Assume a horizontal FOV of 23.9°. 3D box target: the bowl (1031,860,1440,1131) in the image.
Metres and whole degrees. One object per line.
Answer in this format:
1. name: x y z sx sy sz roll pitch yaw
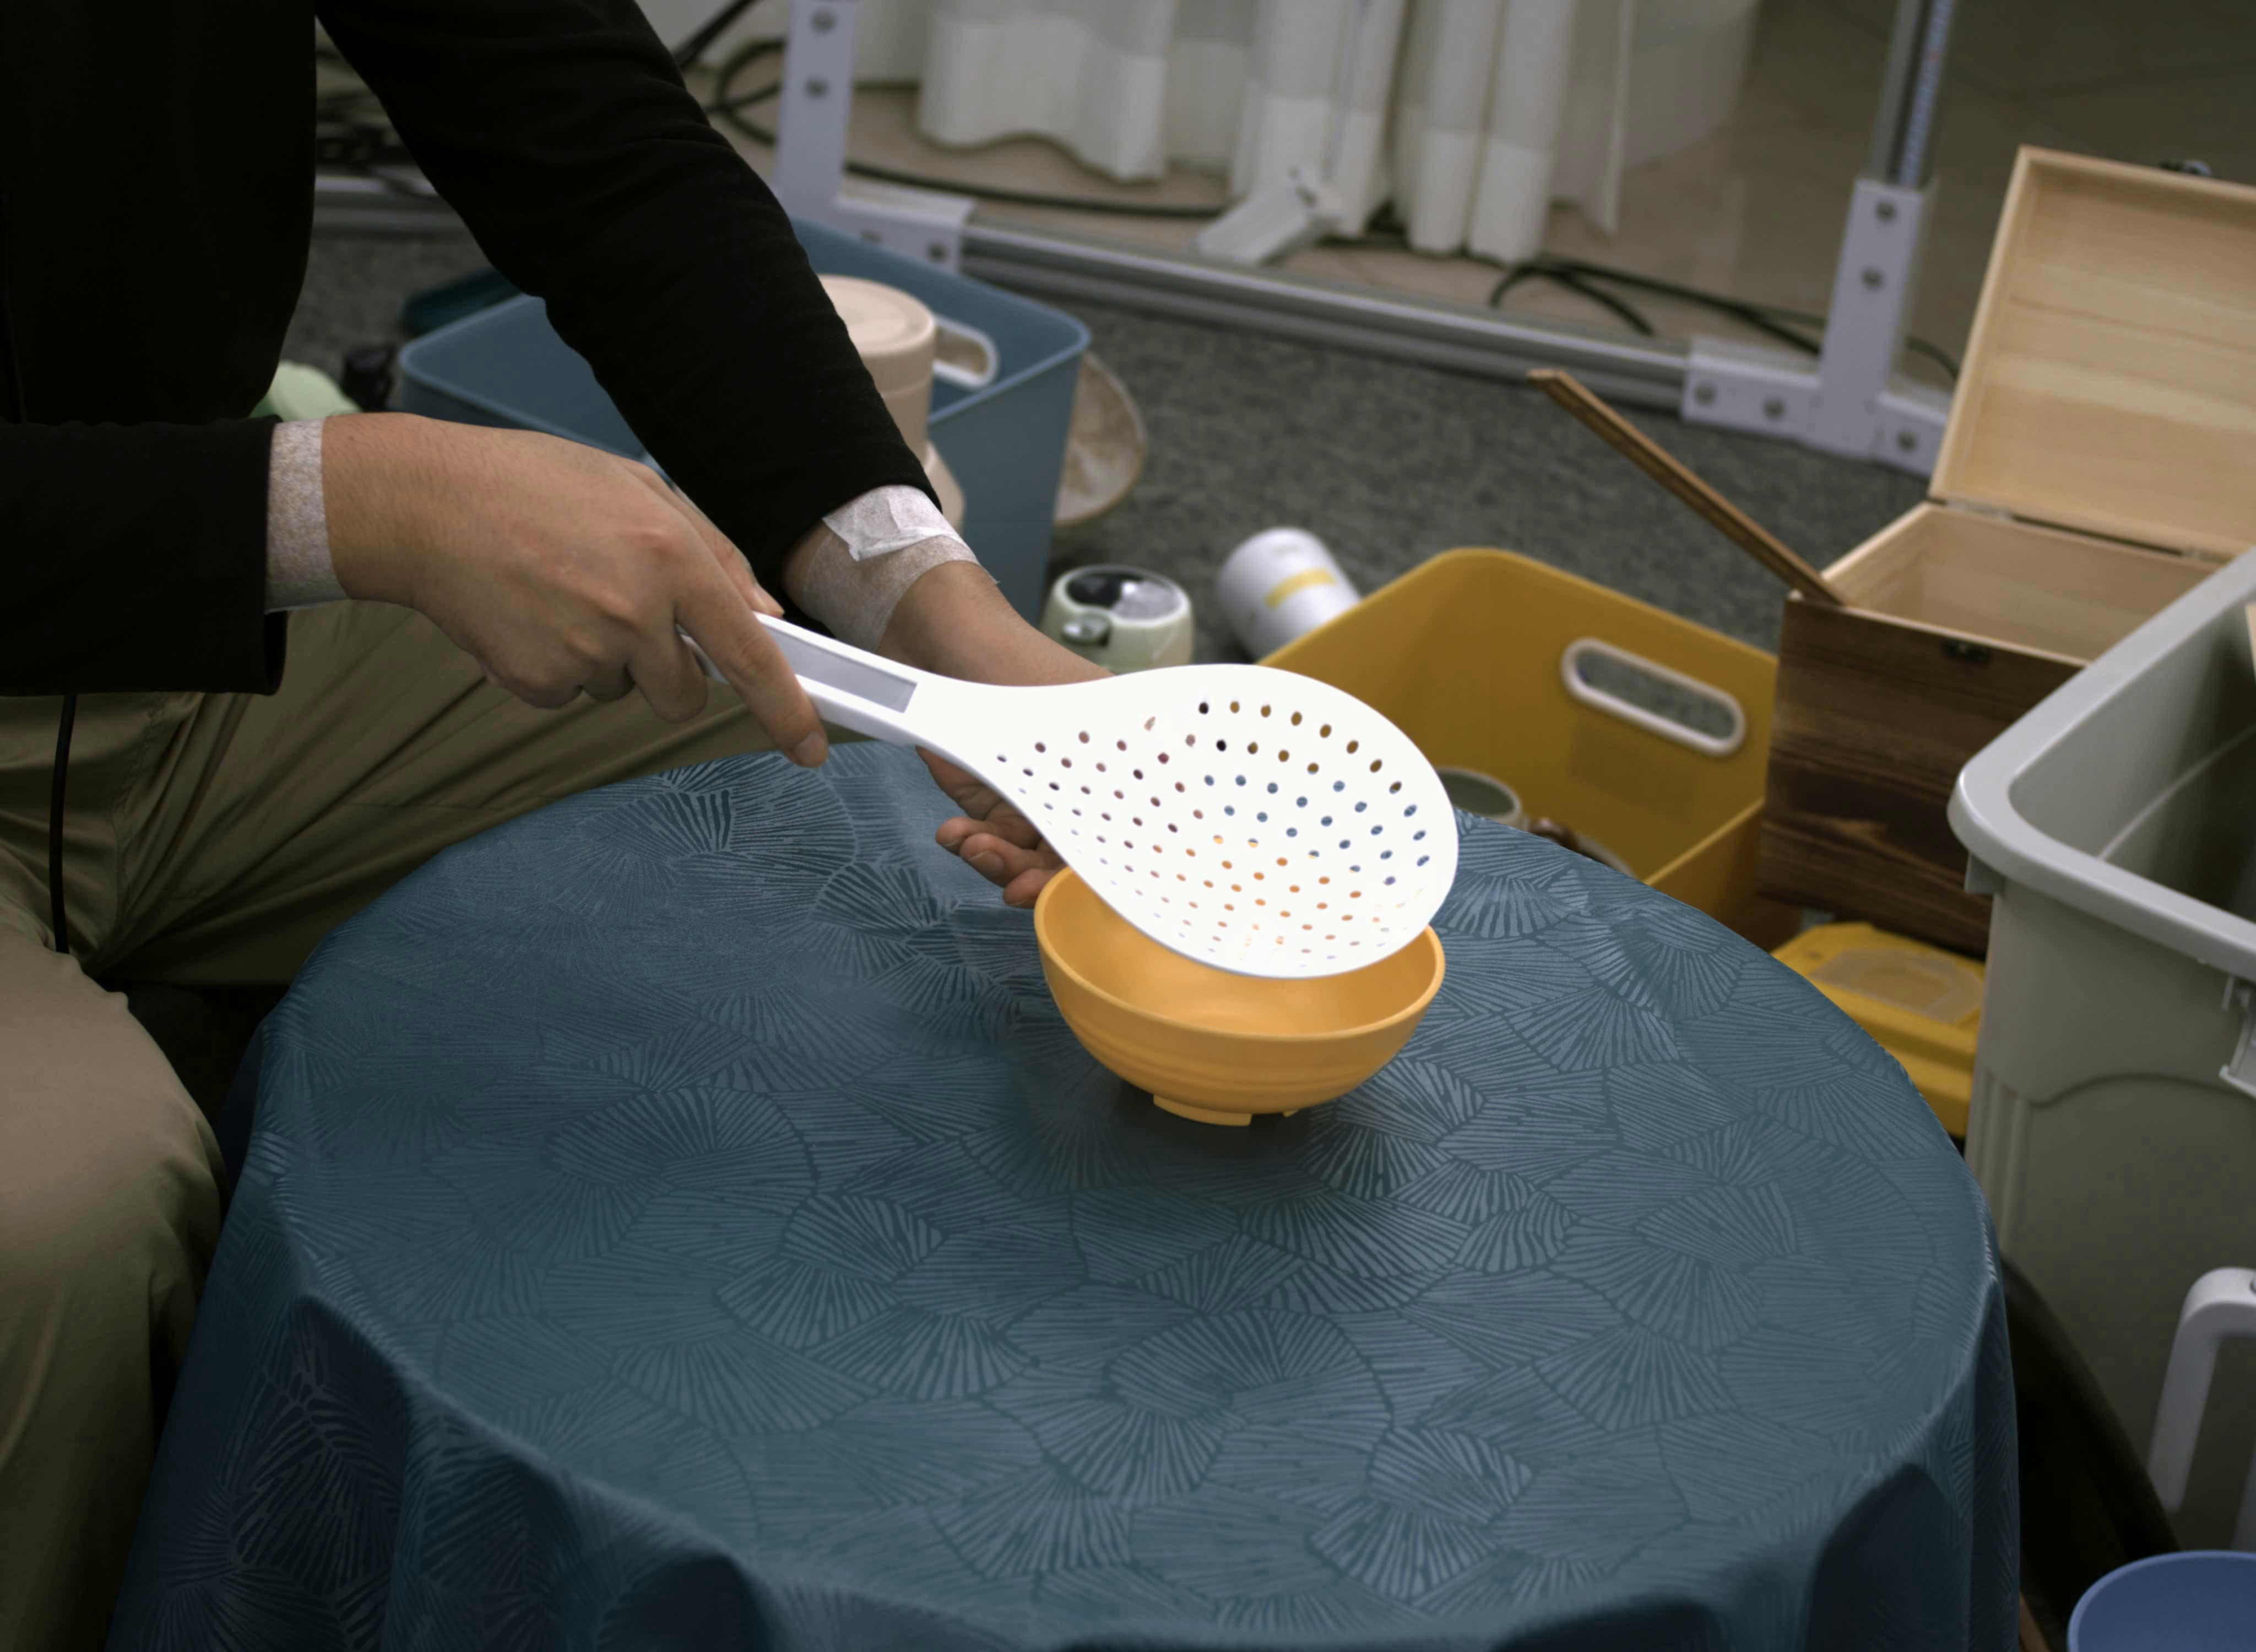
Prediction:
1. bowl: 0.034 0.065 1.863 0.145 0.060 0.146 7 26 -4

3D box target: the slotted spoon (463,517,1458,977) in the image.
1. slotted spoon: -0.059 -0.035 1.795 0.349 0.045 0.137 22 49 0
